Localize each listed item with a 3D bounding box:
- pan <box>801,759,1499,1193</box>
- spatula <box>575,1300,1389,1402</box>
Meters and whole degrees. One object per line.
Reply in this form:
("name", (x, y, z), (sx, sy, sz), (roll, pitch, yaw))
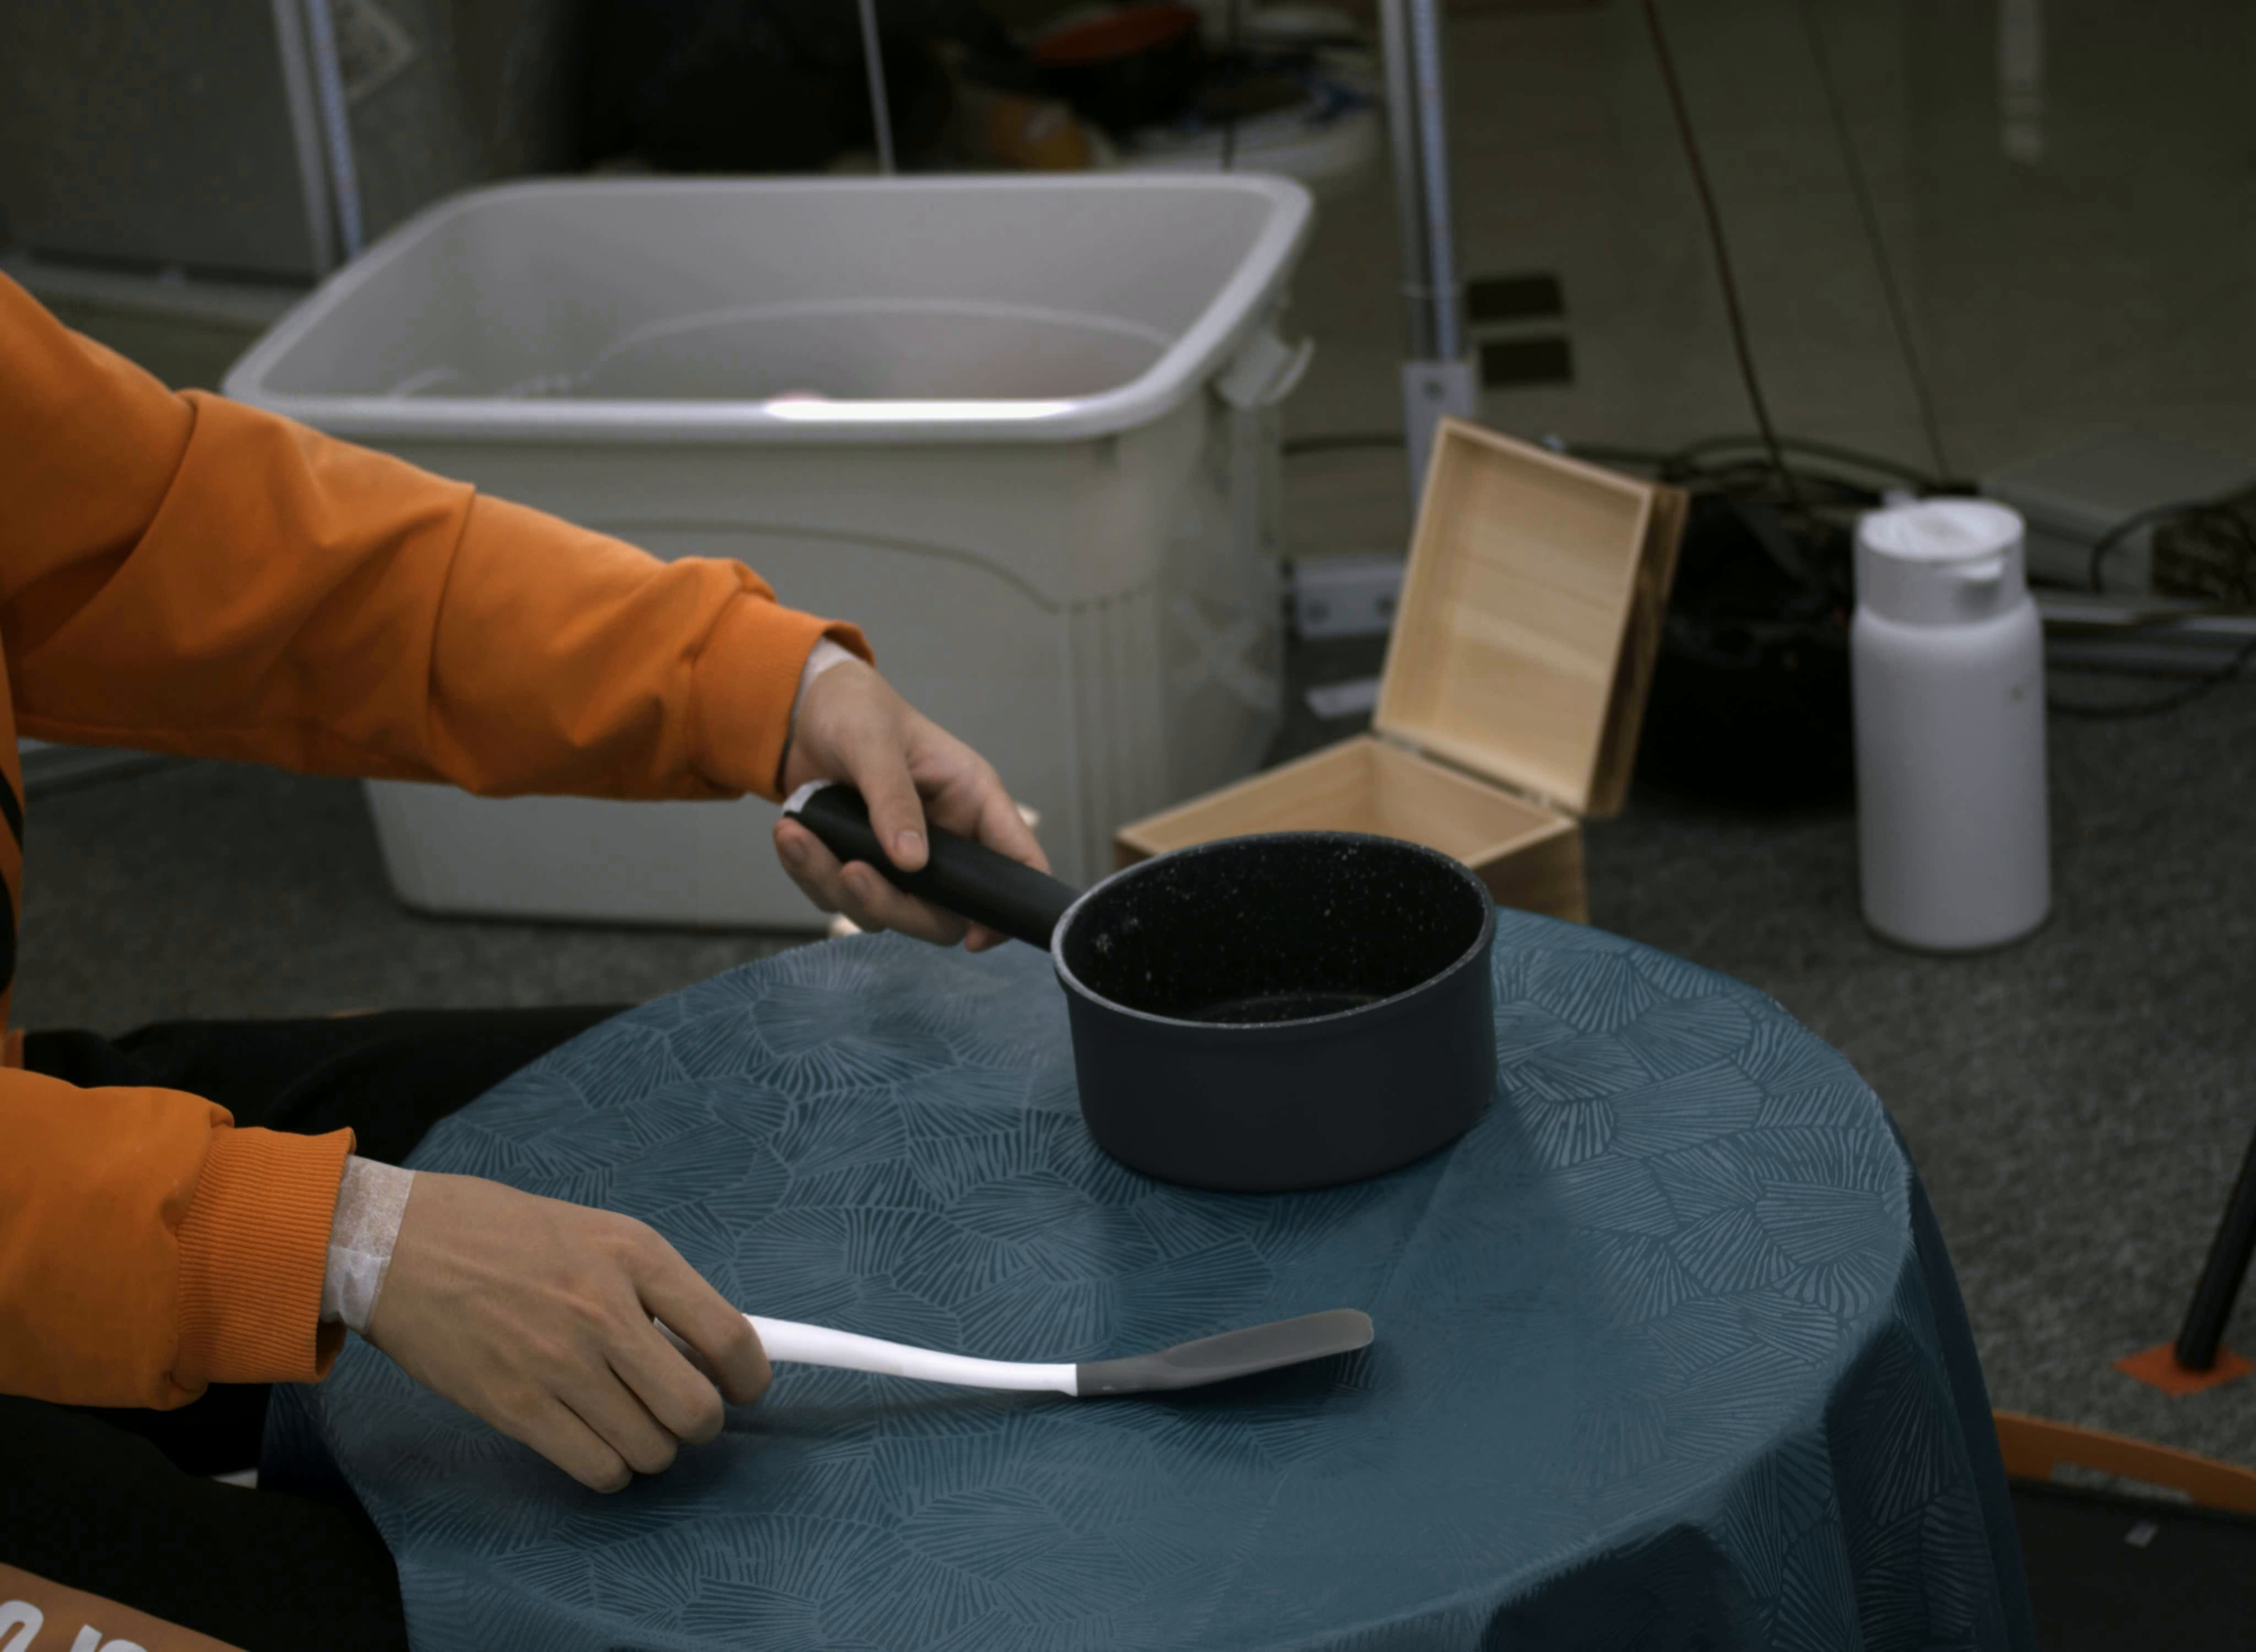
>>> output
("pan", (-0.001, 0.052, 2.232), (0.326, 0.088, 0.170), (17, 33, 38))
("spatula", (-0.051, 0.186, 2.010), (0.287, 0.032, 0.058), (-1, 9, 1))
